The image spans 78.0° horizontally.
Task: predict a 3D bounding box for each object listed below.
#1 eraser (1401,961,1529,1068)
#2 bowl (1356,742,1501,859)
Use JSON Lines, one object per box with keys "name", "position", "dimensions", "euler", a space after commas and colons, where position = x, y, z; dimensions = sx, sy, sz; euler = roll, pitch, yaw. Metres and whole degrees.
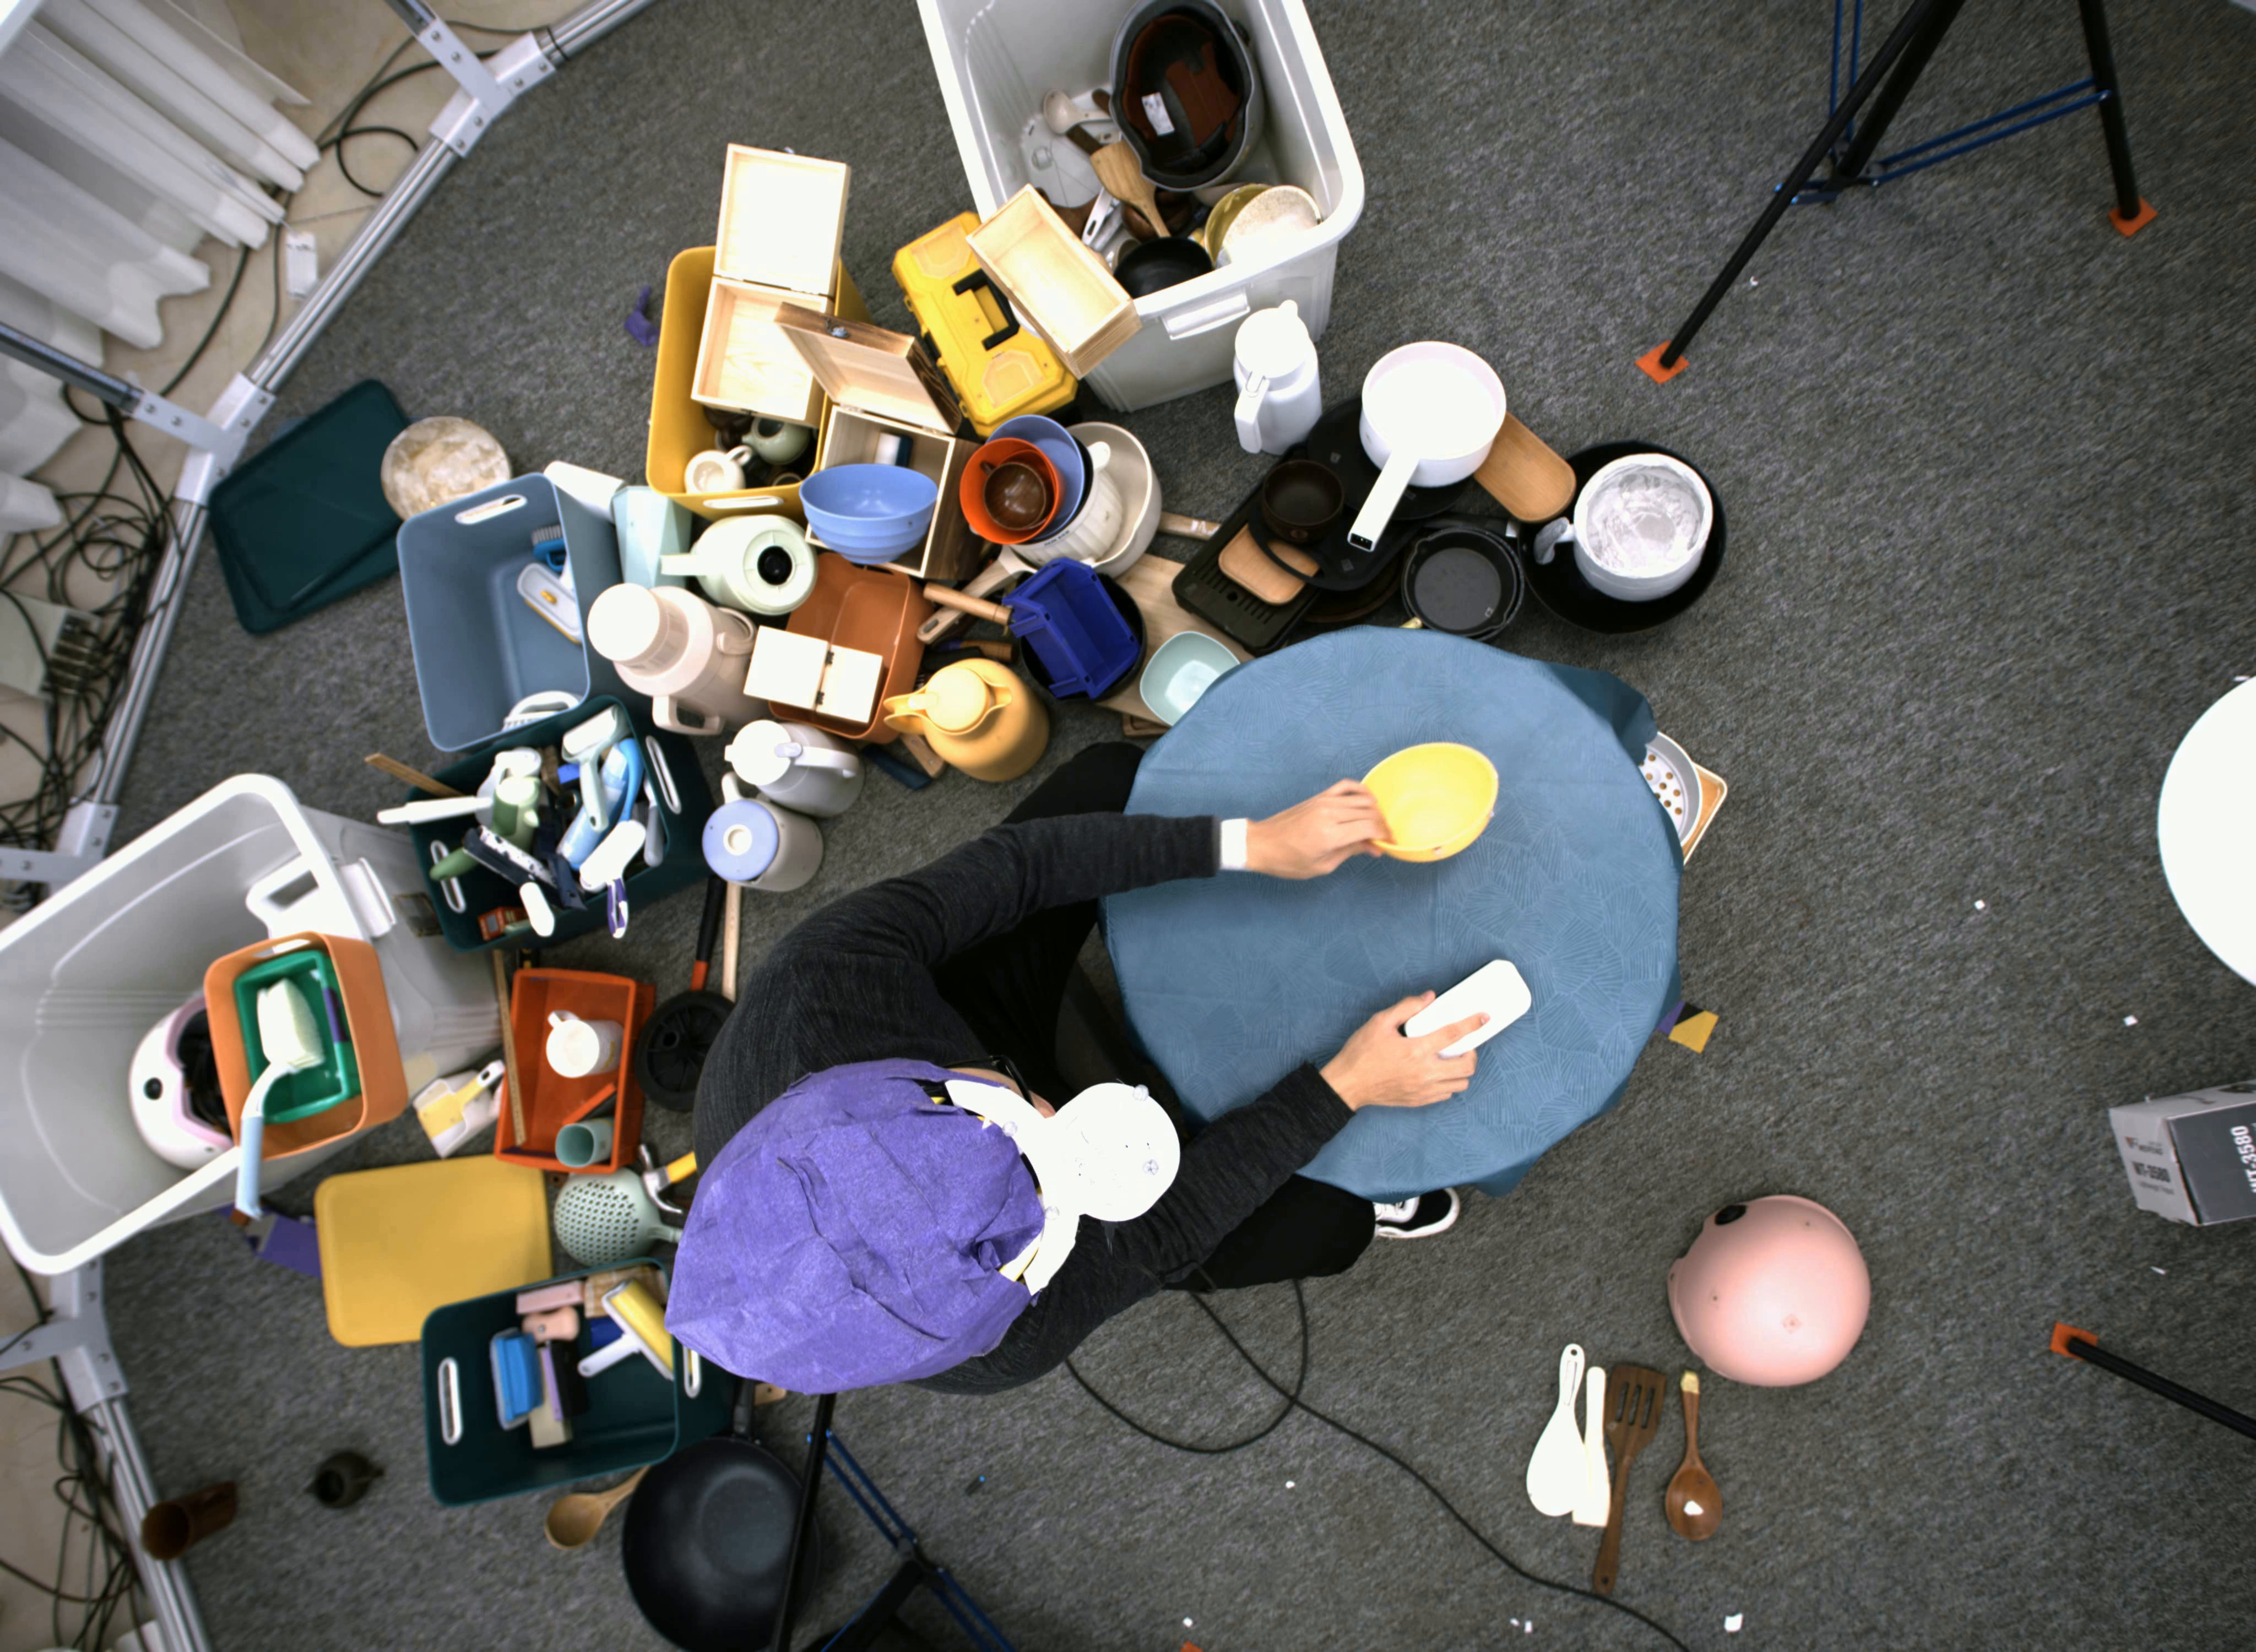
{"name": "eraser", "position": [0.344, 0.189, 1.410], "dimensions": [0.131, 0.034, 0.064], "euler": [-32, 99, -1]}
{"name": "bowl", "position": [0.307, -0.016, 1.384], "dimensions": [0.146, 0.061, 0.141], "euler": [-15, 45, 15]}
